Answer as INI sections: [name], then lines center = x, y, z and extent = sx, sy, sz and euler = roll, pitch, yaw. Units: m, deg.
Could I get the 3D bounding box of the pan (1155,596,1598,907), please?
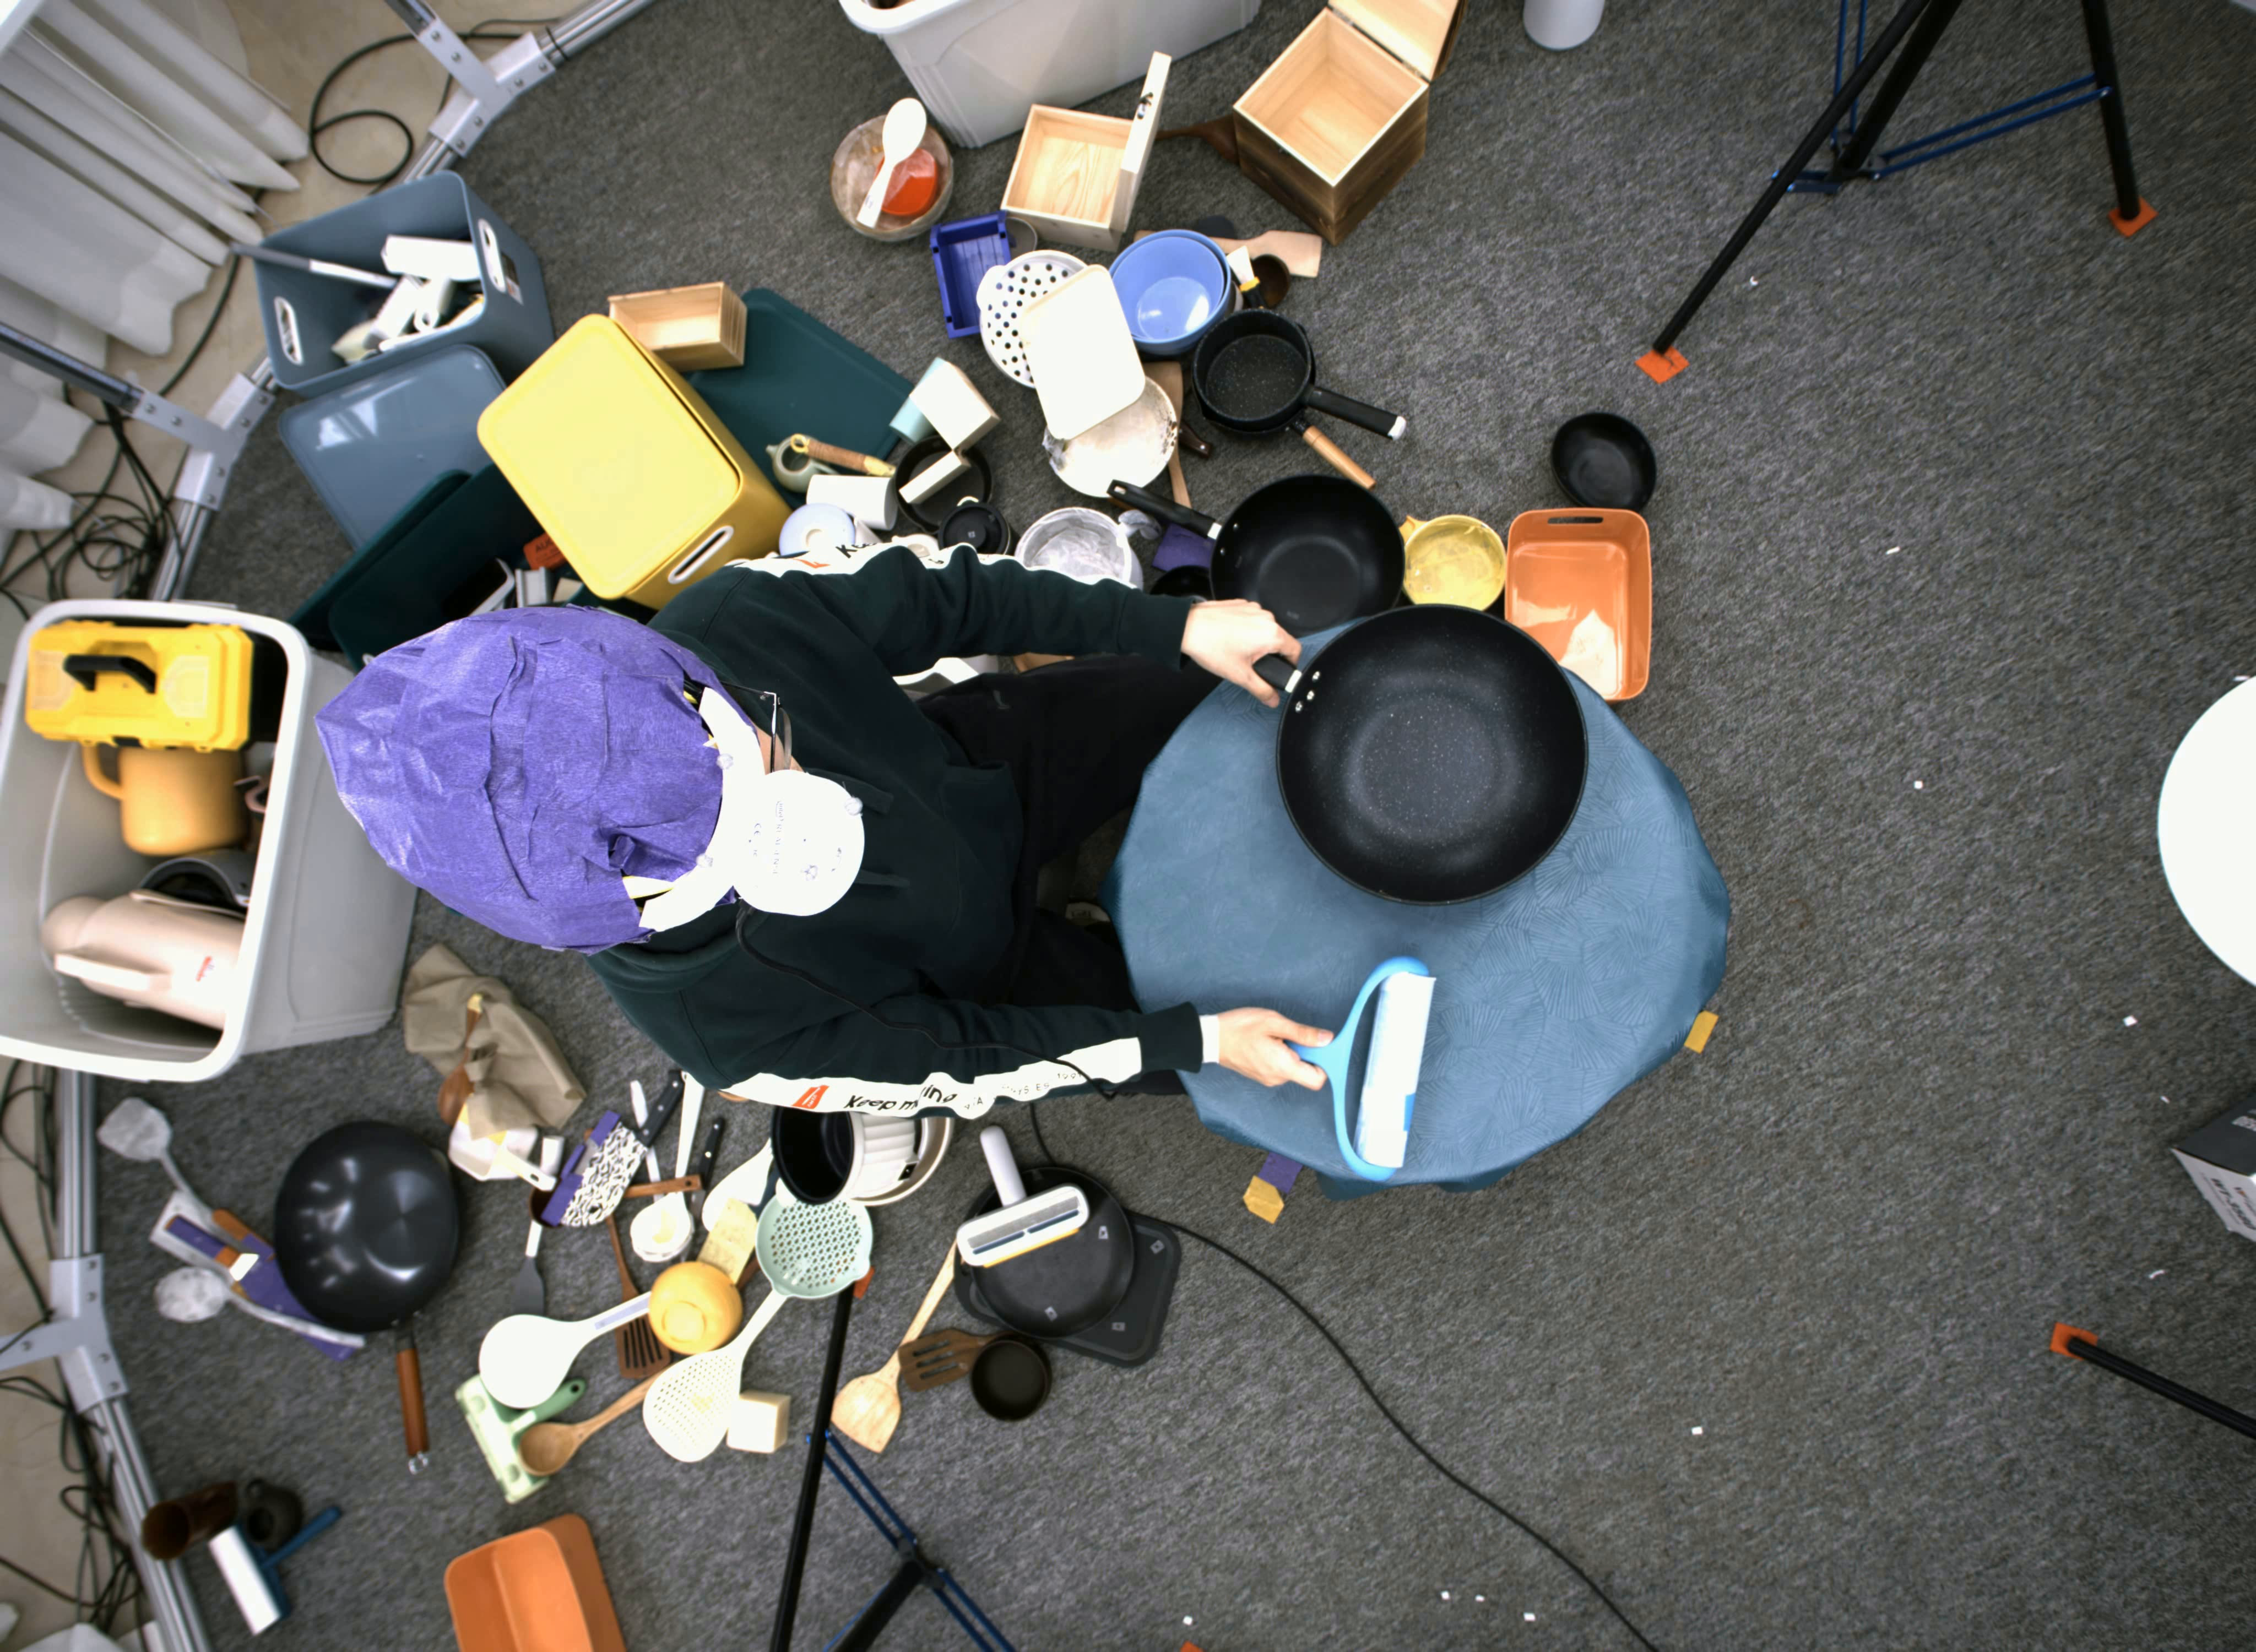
[pan]
center = 0.242, -0.109, 1.416
extent = 0.476, 0.112, 0.310
euler = 29, 90, 13

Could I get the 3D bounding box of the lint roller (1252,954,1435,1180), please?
[lint roller]
center = 0.213, 0.237, 1.411
extent = 0.181, 0.068, 0.229
euler = 6, 91, 11
